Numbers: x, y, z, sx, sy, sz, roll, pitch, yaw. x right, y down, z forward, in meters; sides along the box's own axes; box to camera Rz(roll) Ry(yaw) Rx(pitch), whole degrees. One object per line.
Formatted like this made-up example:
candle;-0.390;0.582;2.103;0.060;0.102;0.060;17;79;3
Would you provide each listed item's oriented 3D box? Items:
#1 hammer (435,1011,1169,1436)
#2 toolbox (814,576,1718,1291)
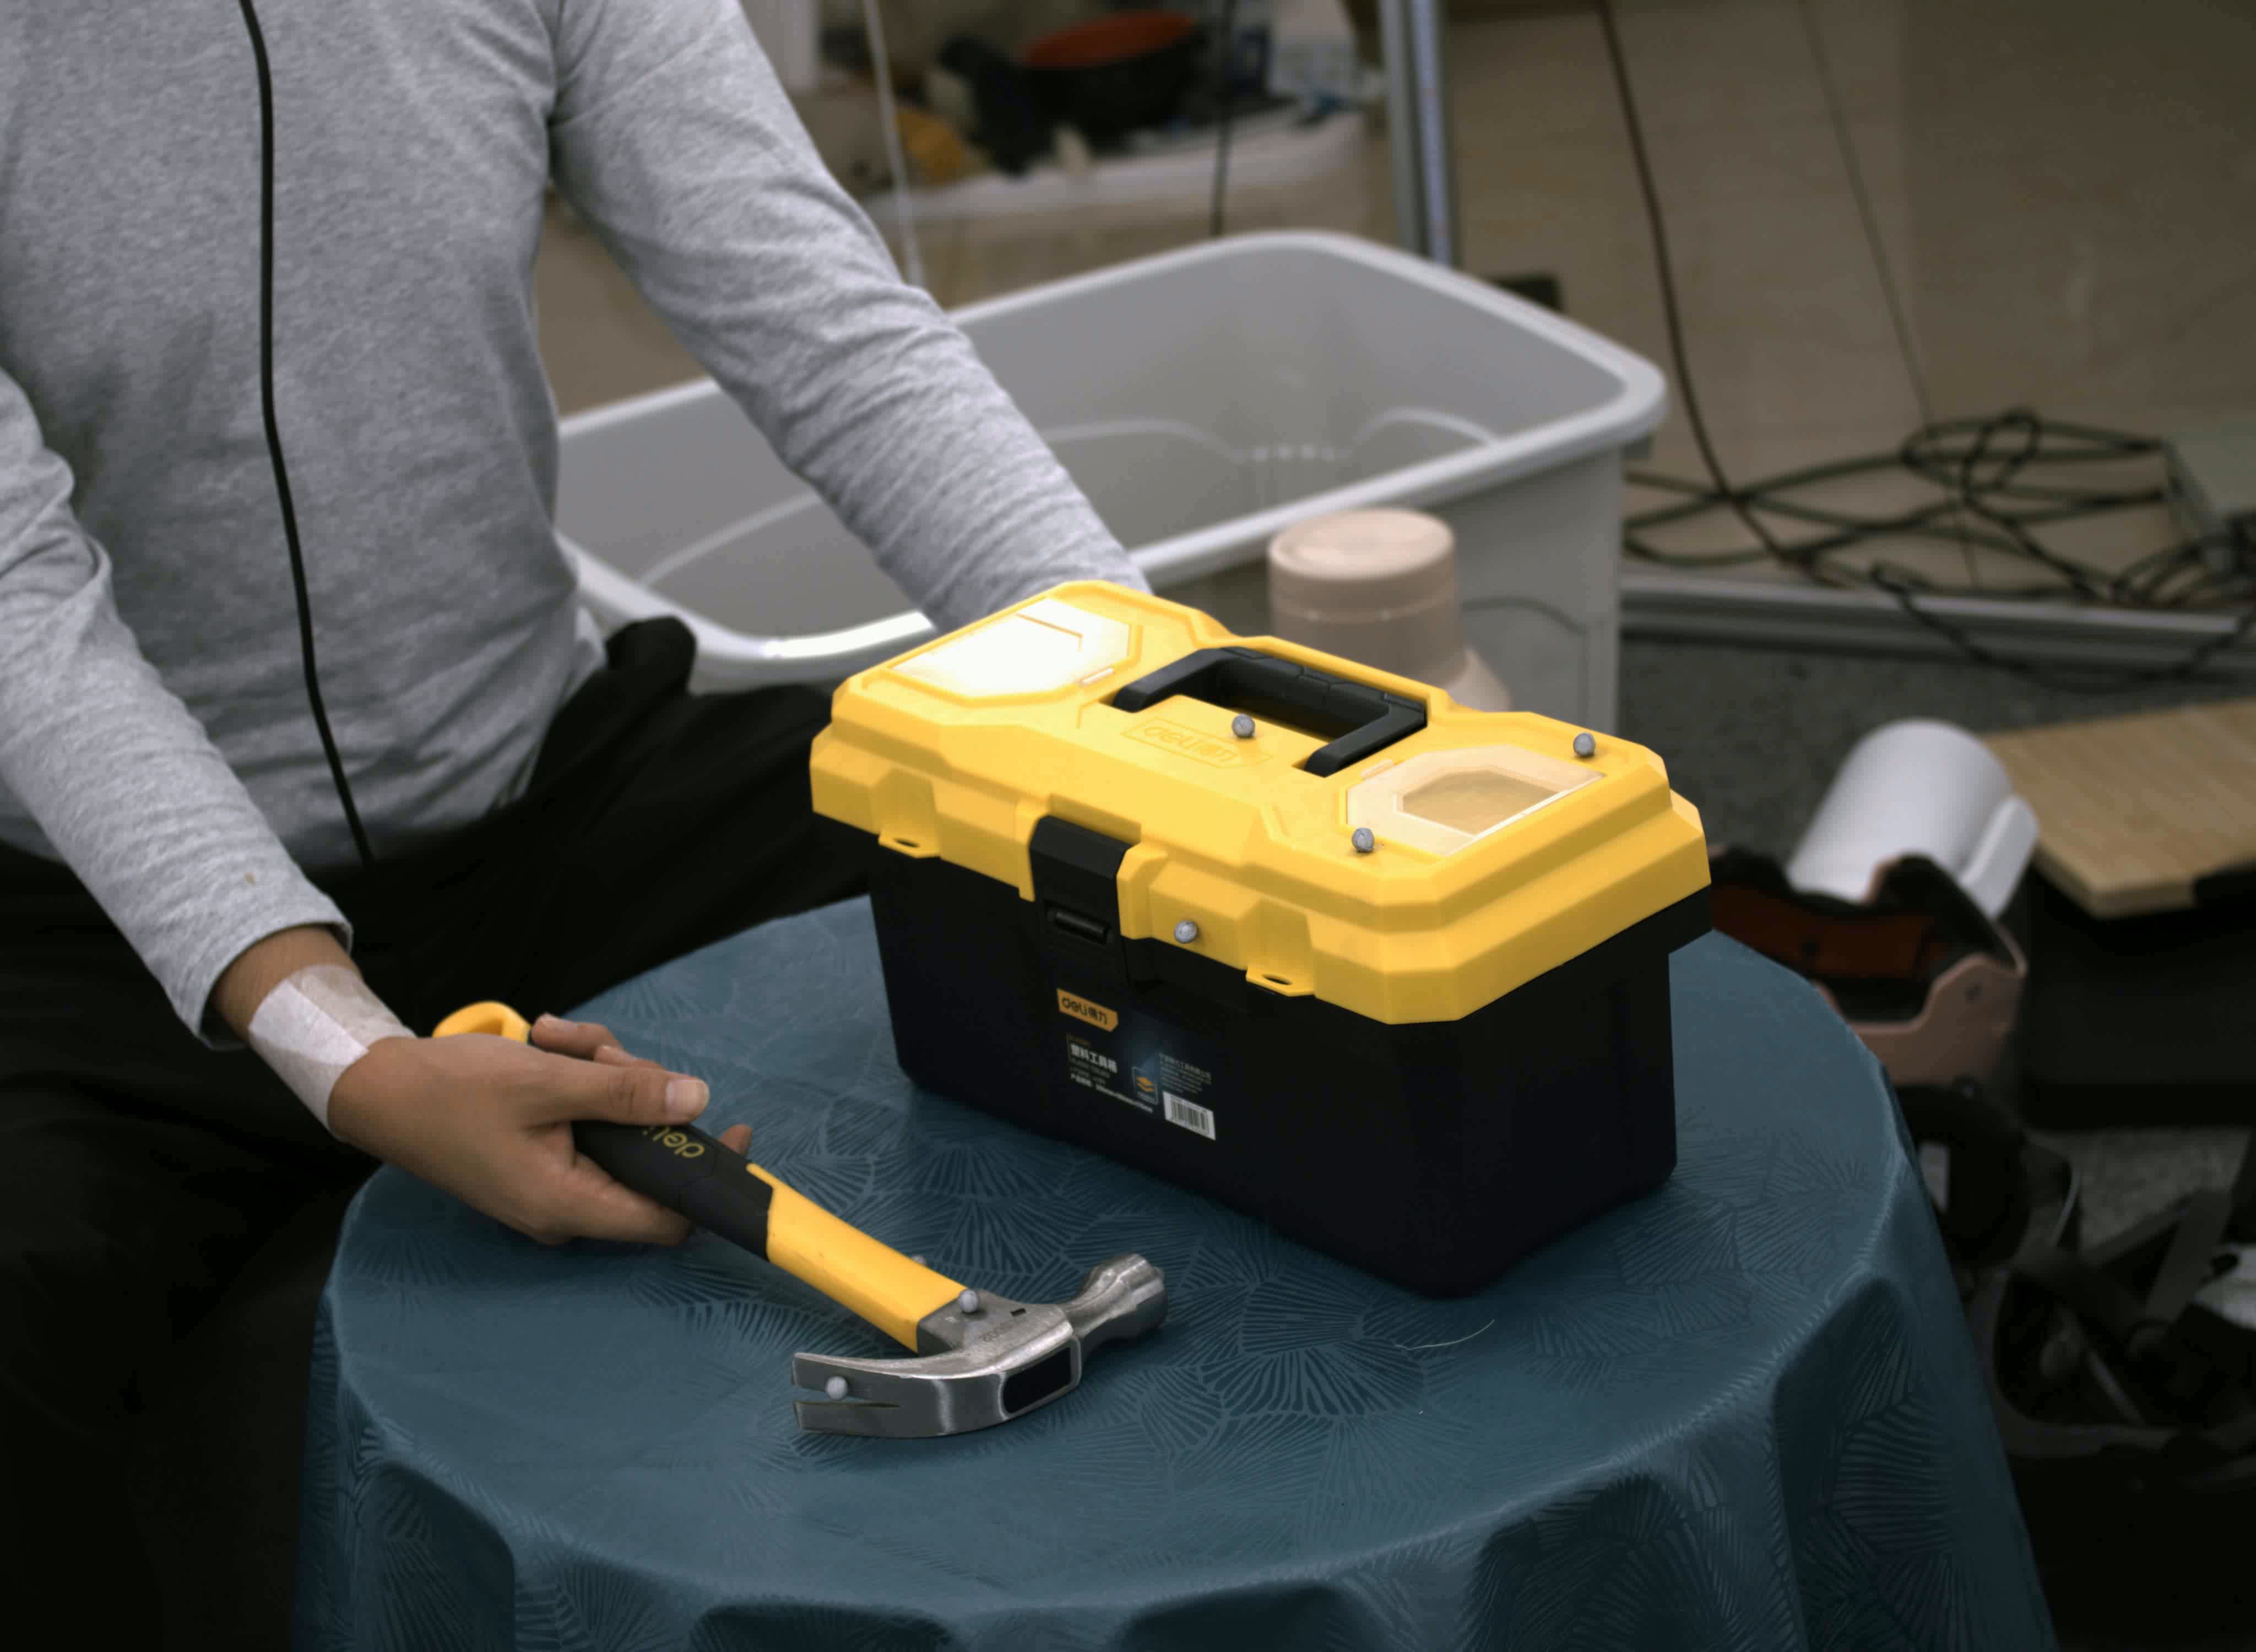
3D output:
hammer;-0.145;0.139;2.112;0.130;0.033;0.335;-29;38;-34
toolbox;0.049;0.036;2.148;0.180;0.175;0.348;-26;31;-35
